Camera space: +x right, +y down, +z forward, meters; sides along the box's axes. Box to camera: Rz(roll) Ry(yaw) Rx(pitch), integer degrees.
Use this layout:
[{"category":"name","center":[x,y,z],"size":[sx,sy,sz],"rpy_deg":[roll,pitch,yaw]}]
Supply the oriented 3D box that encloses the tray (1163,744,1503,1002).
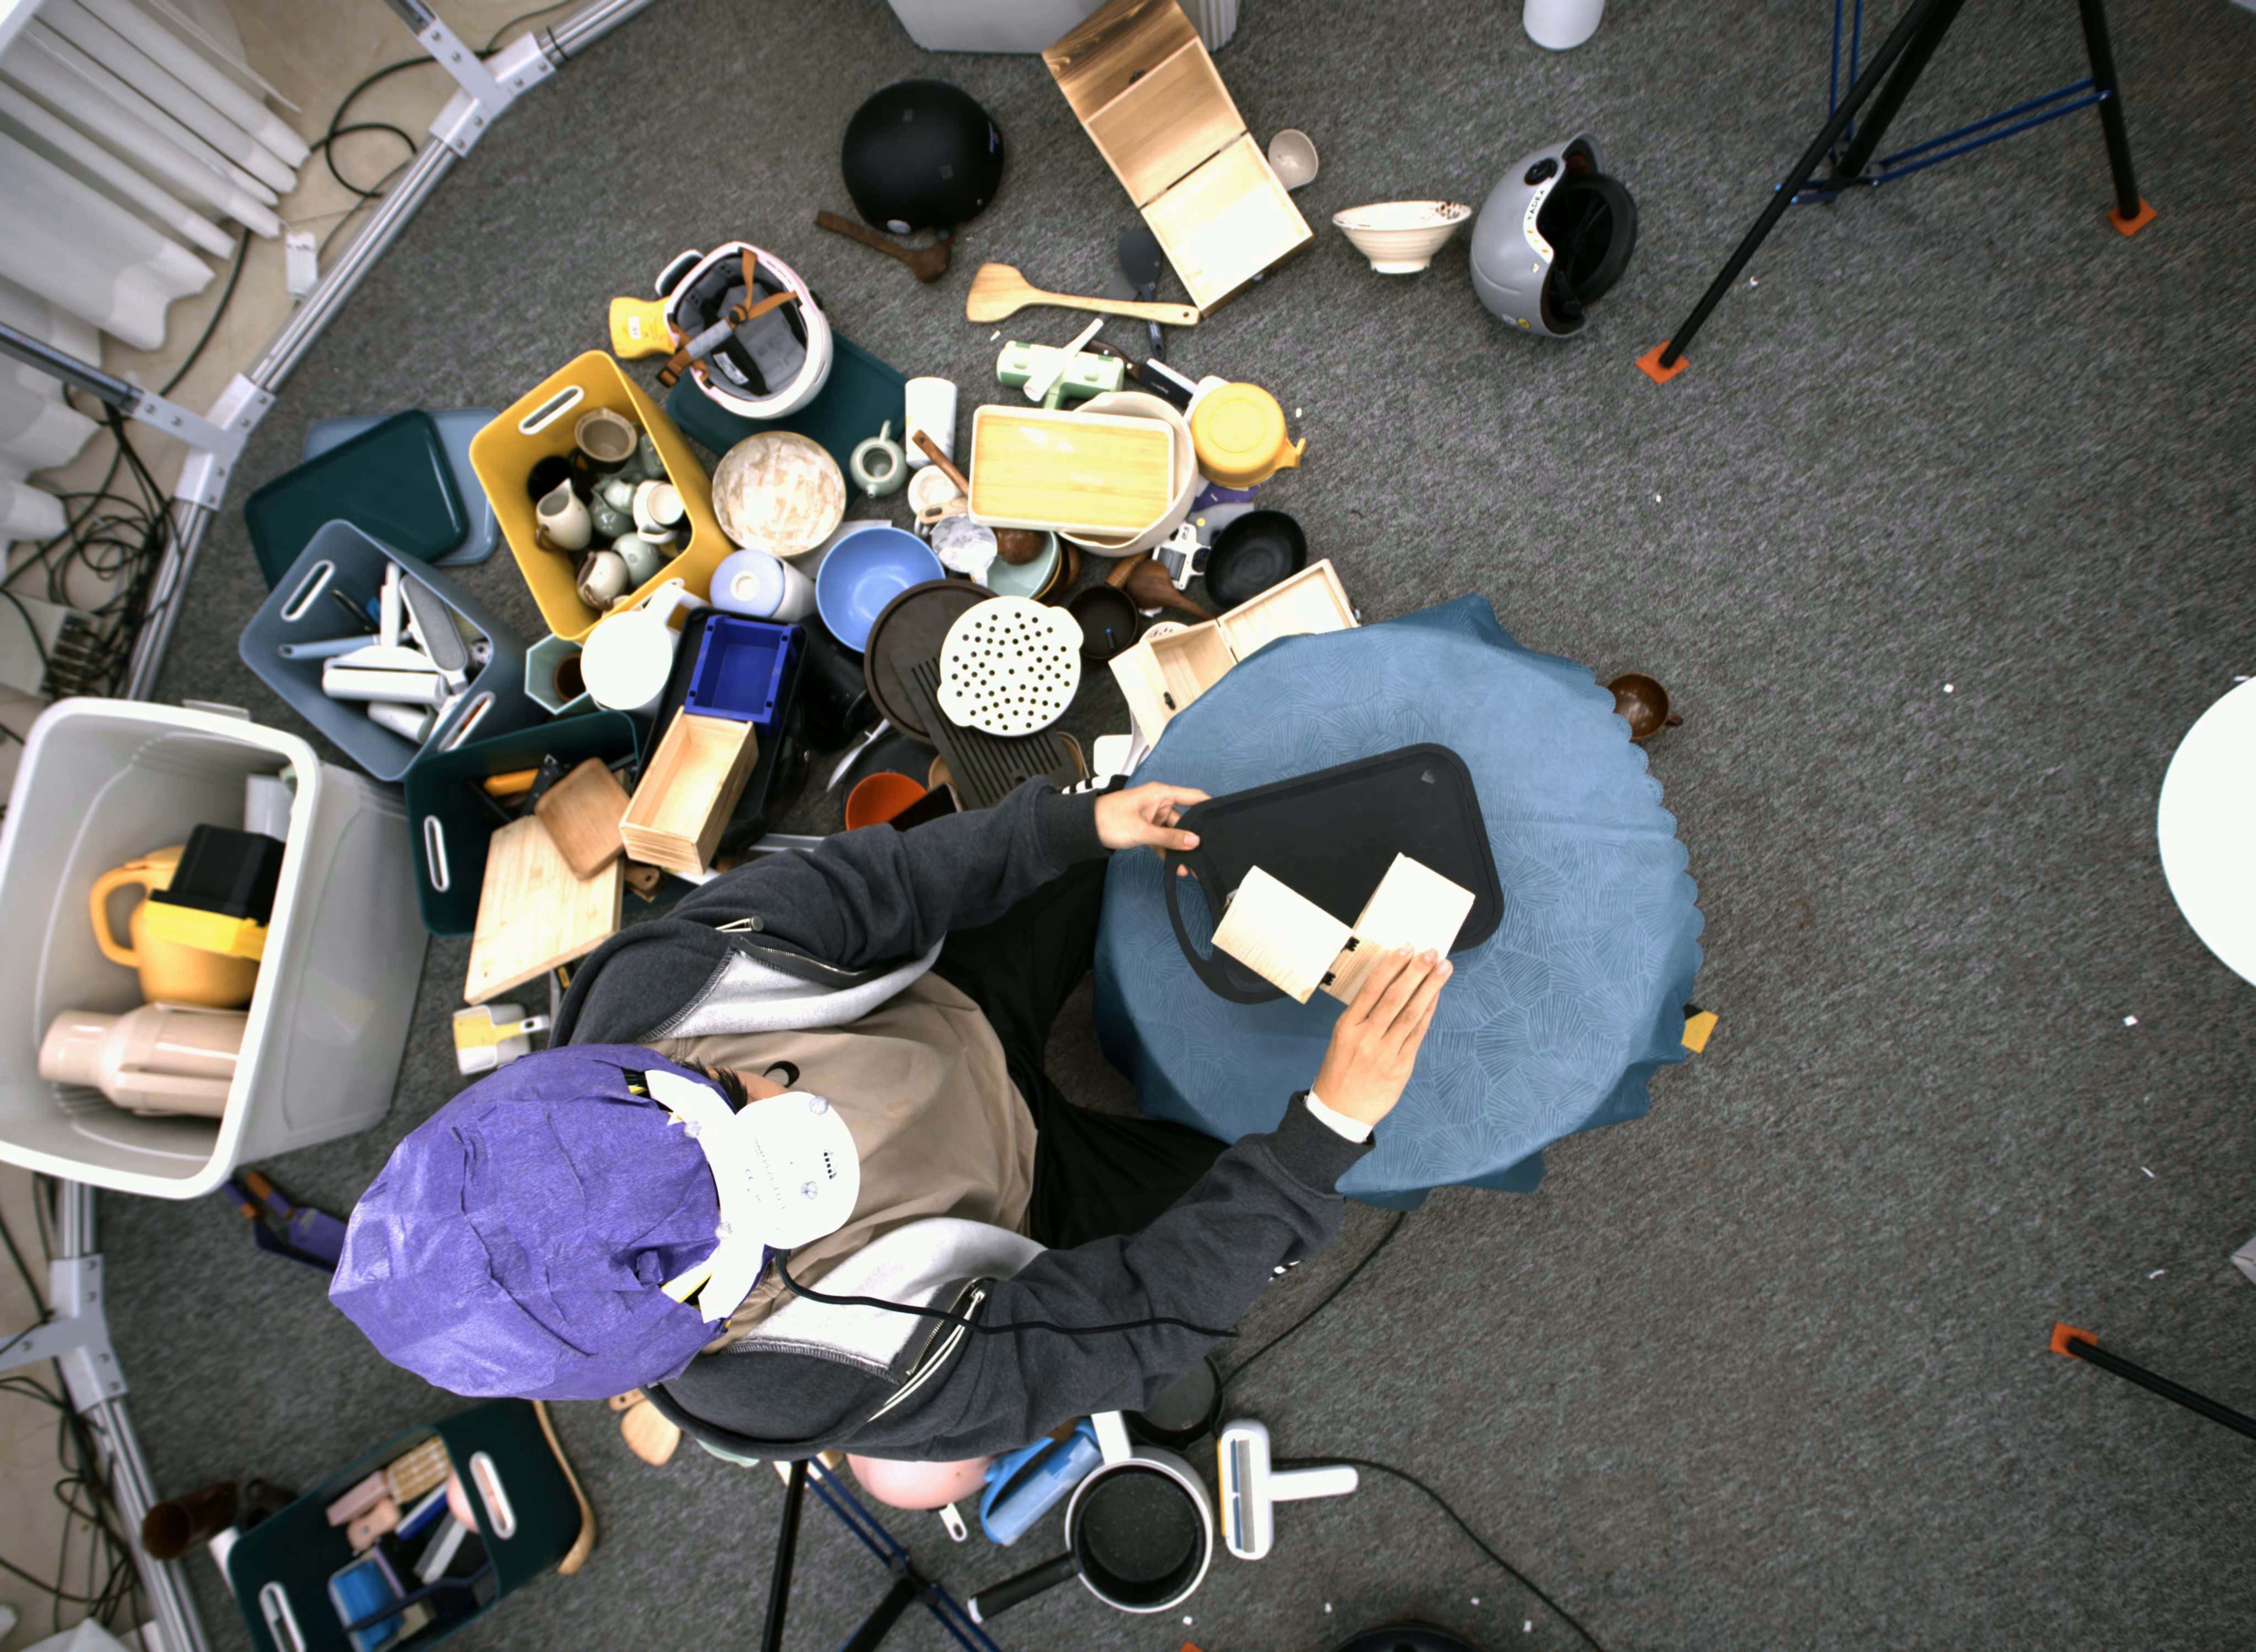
[{"category":"tray","center":[0.198,0.050,1.370],"size":[0.326,0.010,0.211],"rpy_deg":[-14,91,5]}]

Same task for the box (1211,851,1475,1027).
[{"category":"box","center":[0.189,0.080,1.228],"size":[0.184,0.105,0.130],"rpy_deg":[30,55,6]}]
